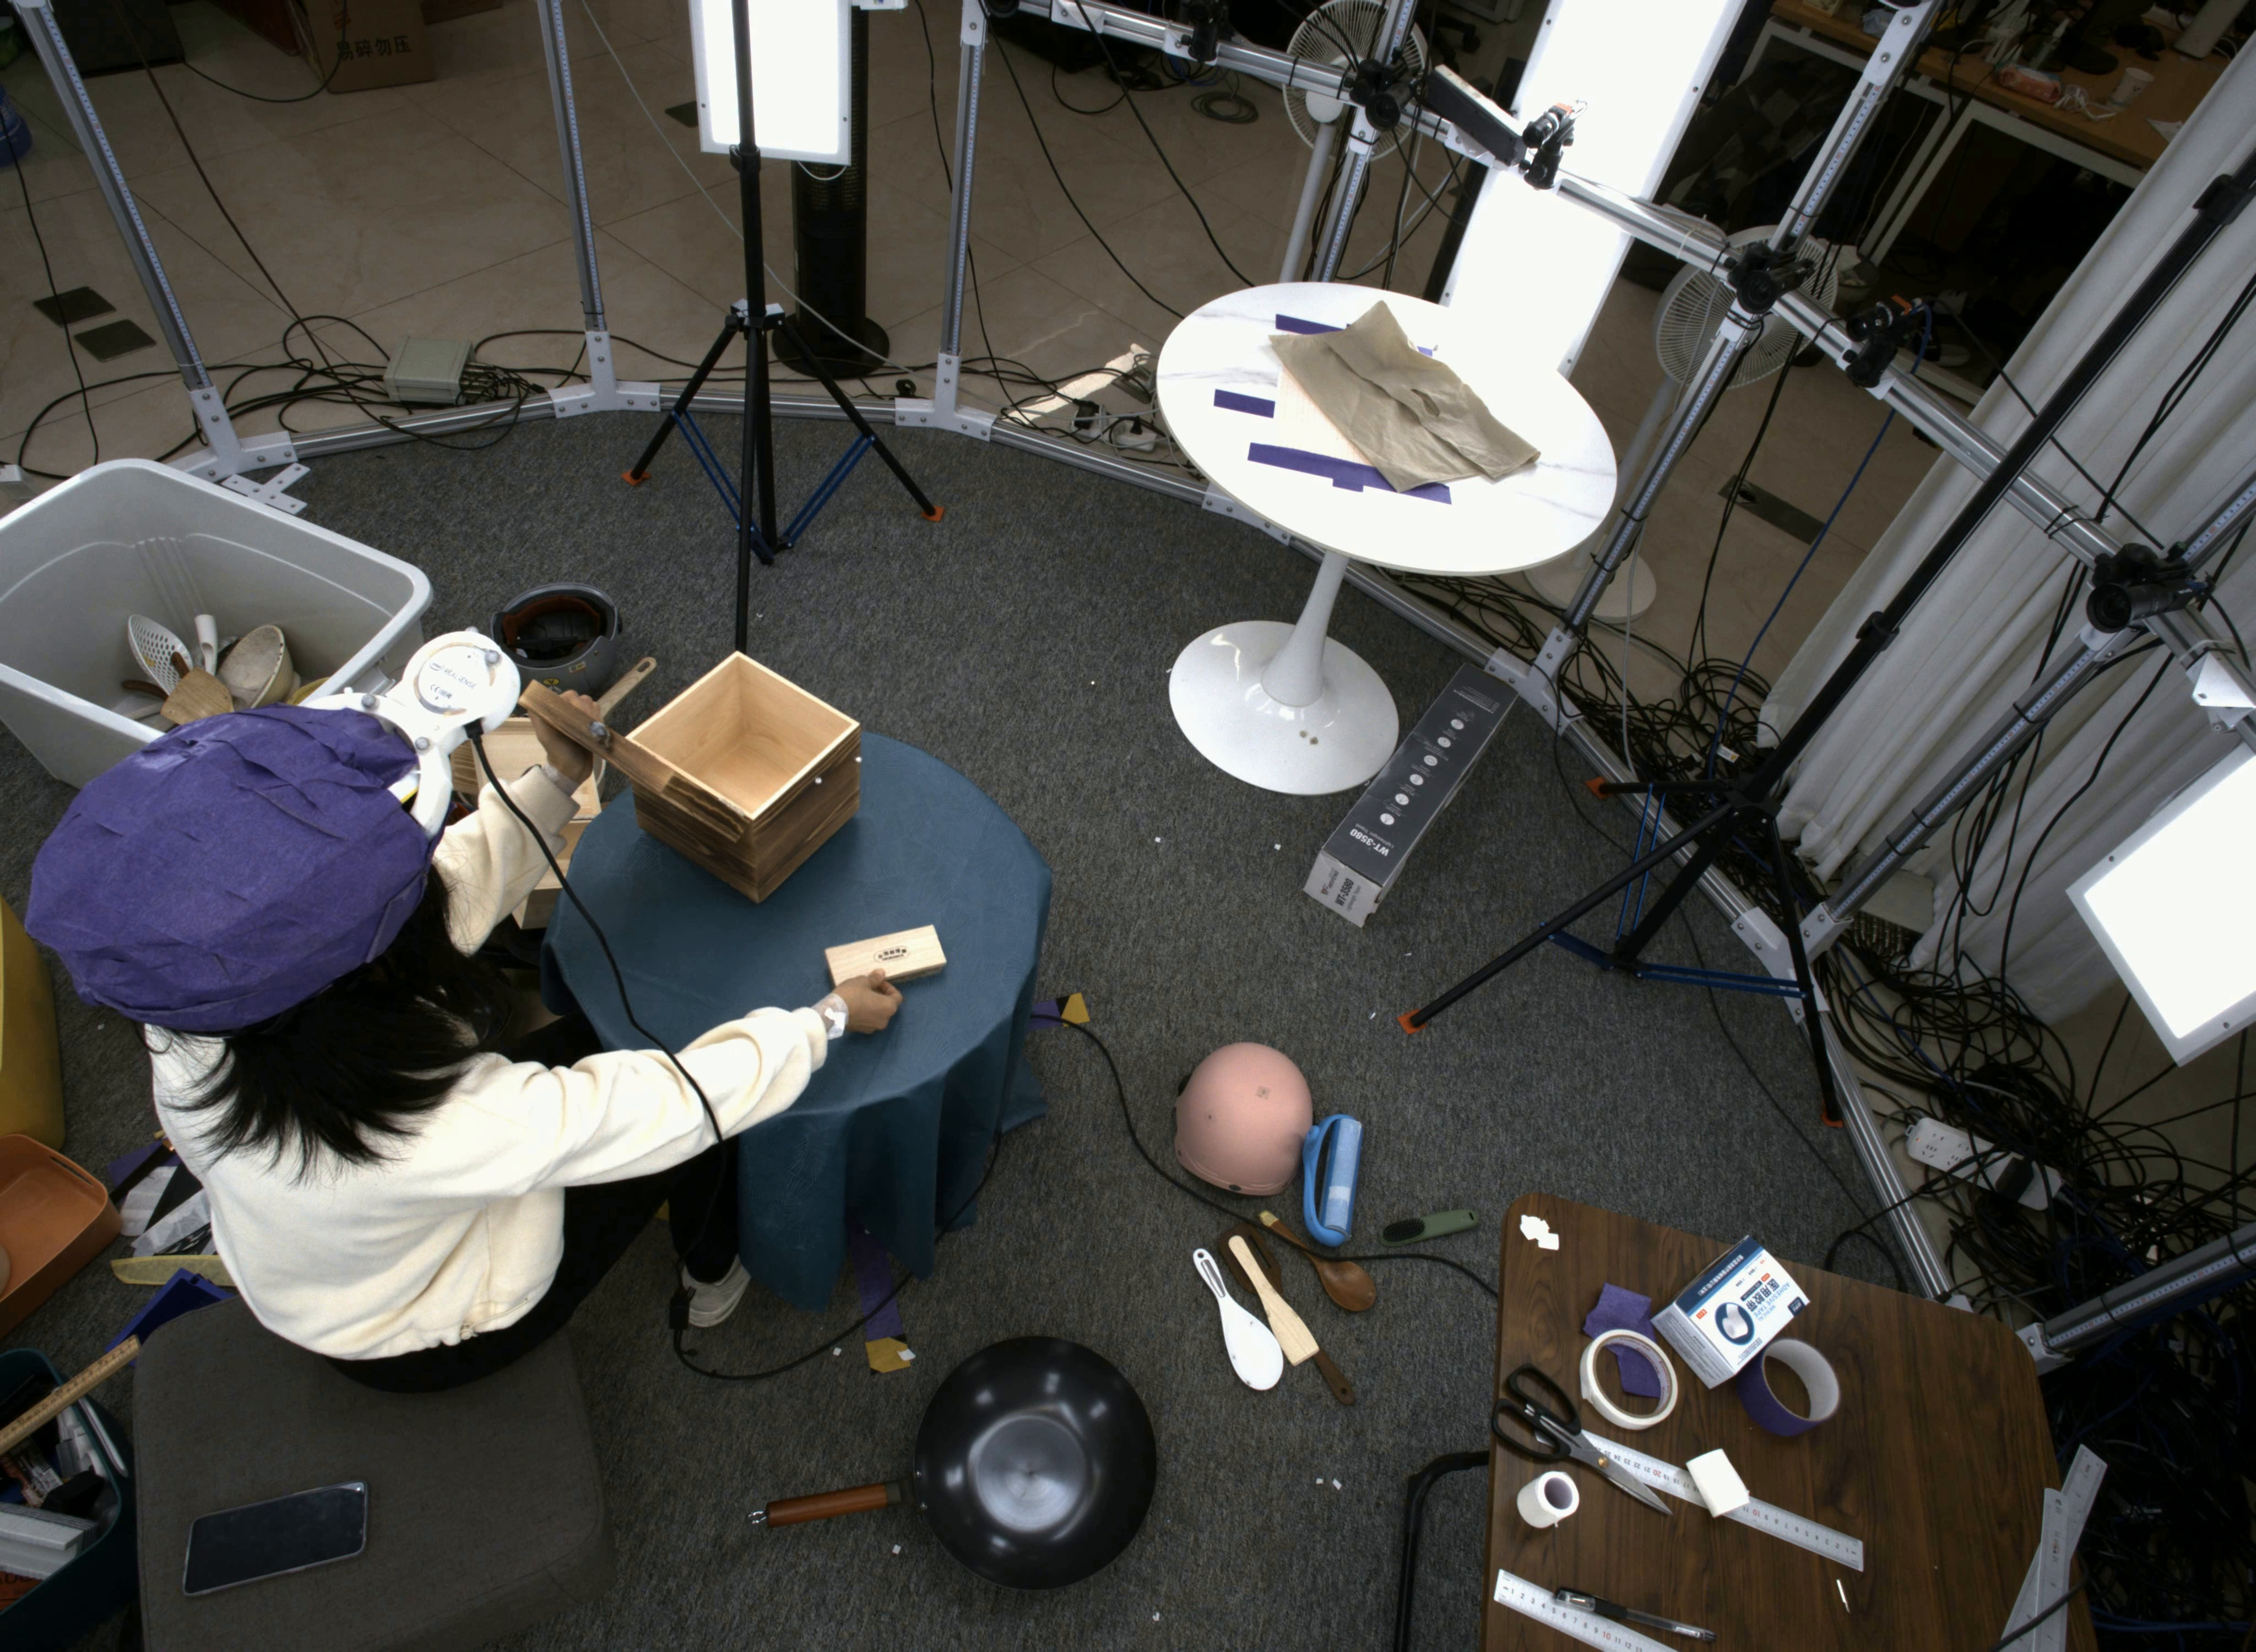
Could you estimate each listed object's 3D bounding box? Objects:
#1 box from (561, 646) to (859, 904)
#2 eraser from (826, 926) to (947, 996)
[{"bbox_3d":[-0.489,-0.099,1.515,0.205,0.384,0.321,29,50,12],"label":"box"},{"bbox_3d":[-0.299,0.164,1.607,0.140,0.029,0.056,-10,61,-24],"label":"eraser"}]
